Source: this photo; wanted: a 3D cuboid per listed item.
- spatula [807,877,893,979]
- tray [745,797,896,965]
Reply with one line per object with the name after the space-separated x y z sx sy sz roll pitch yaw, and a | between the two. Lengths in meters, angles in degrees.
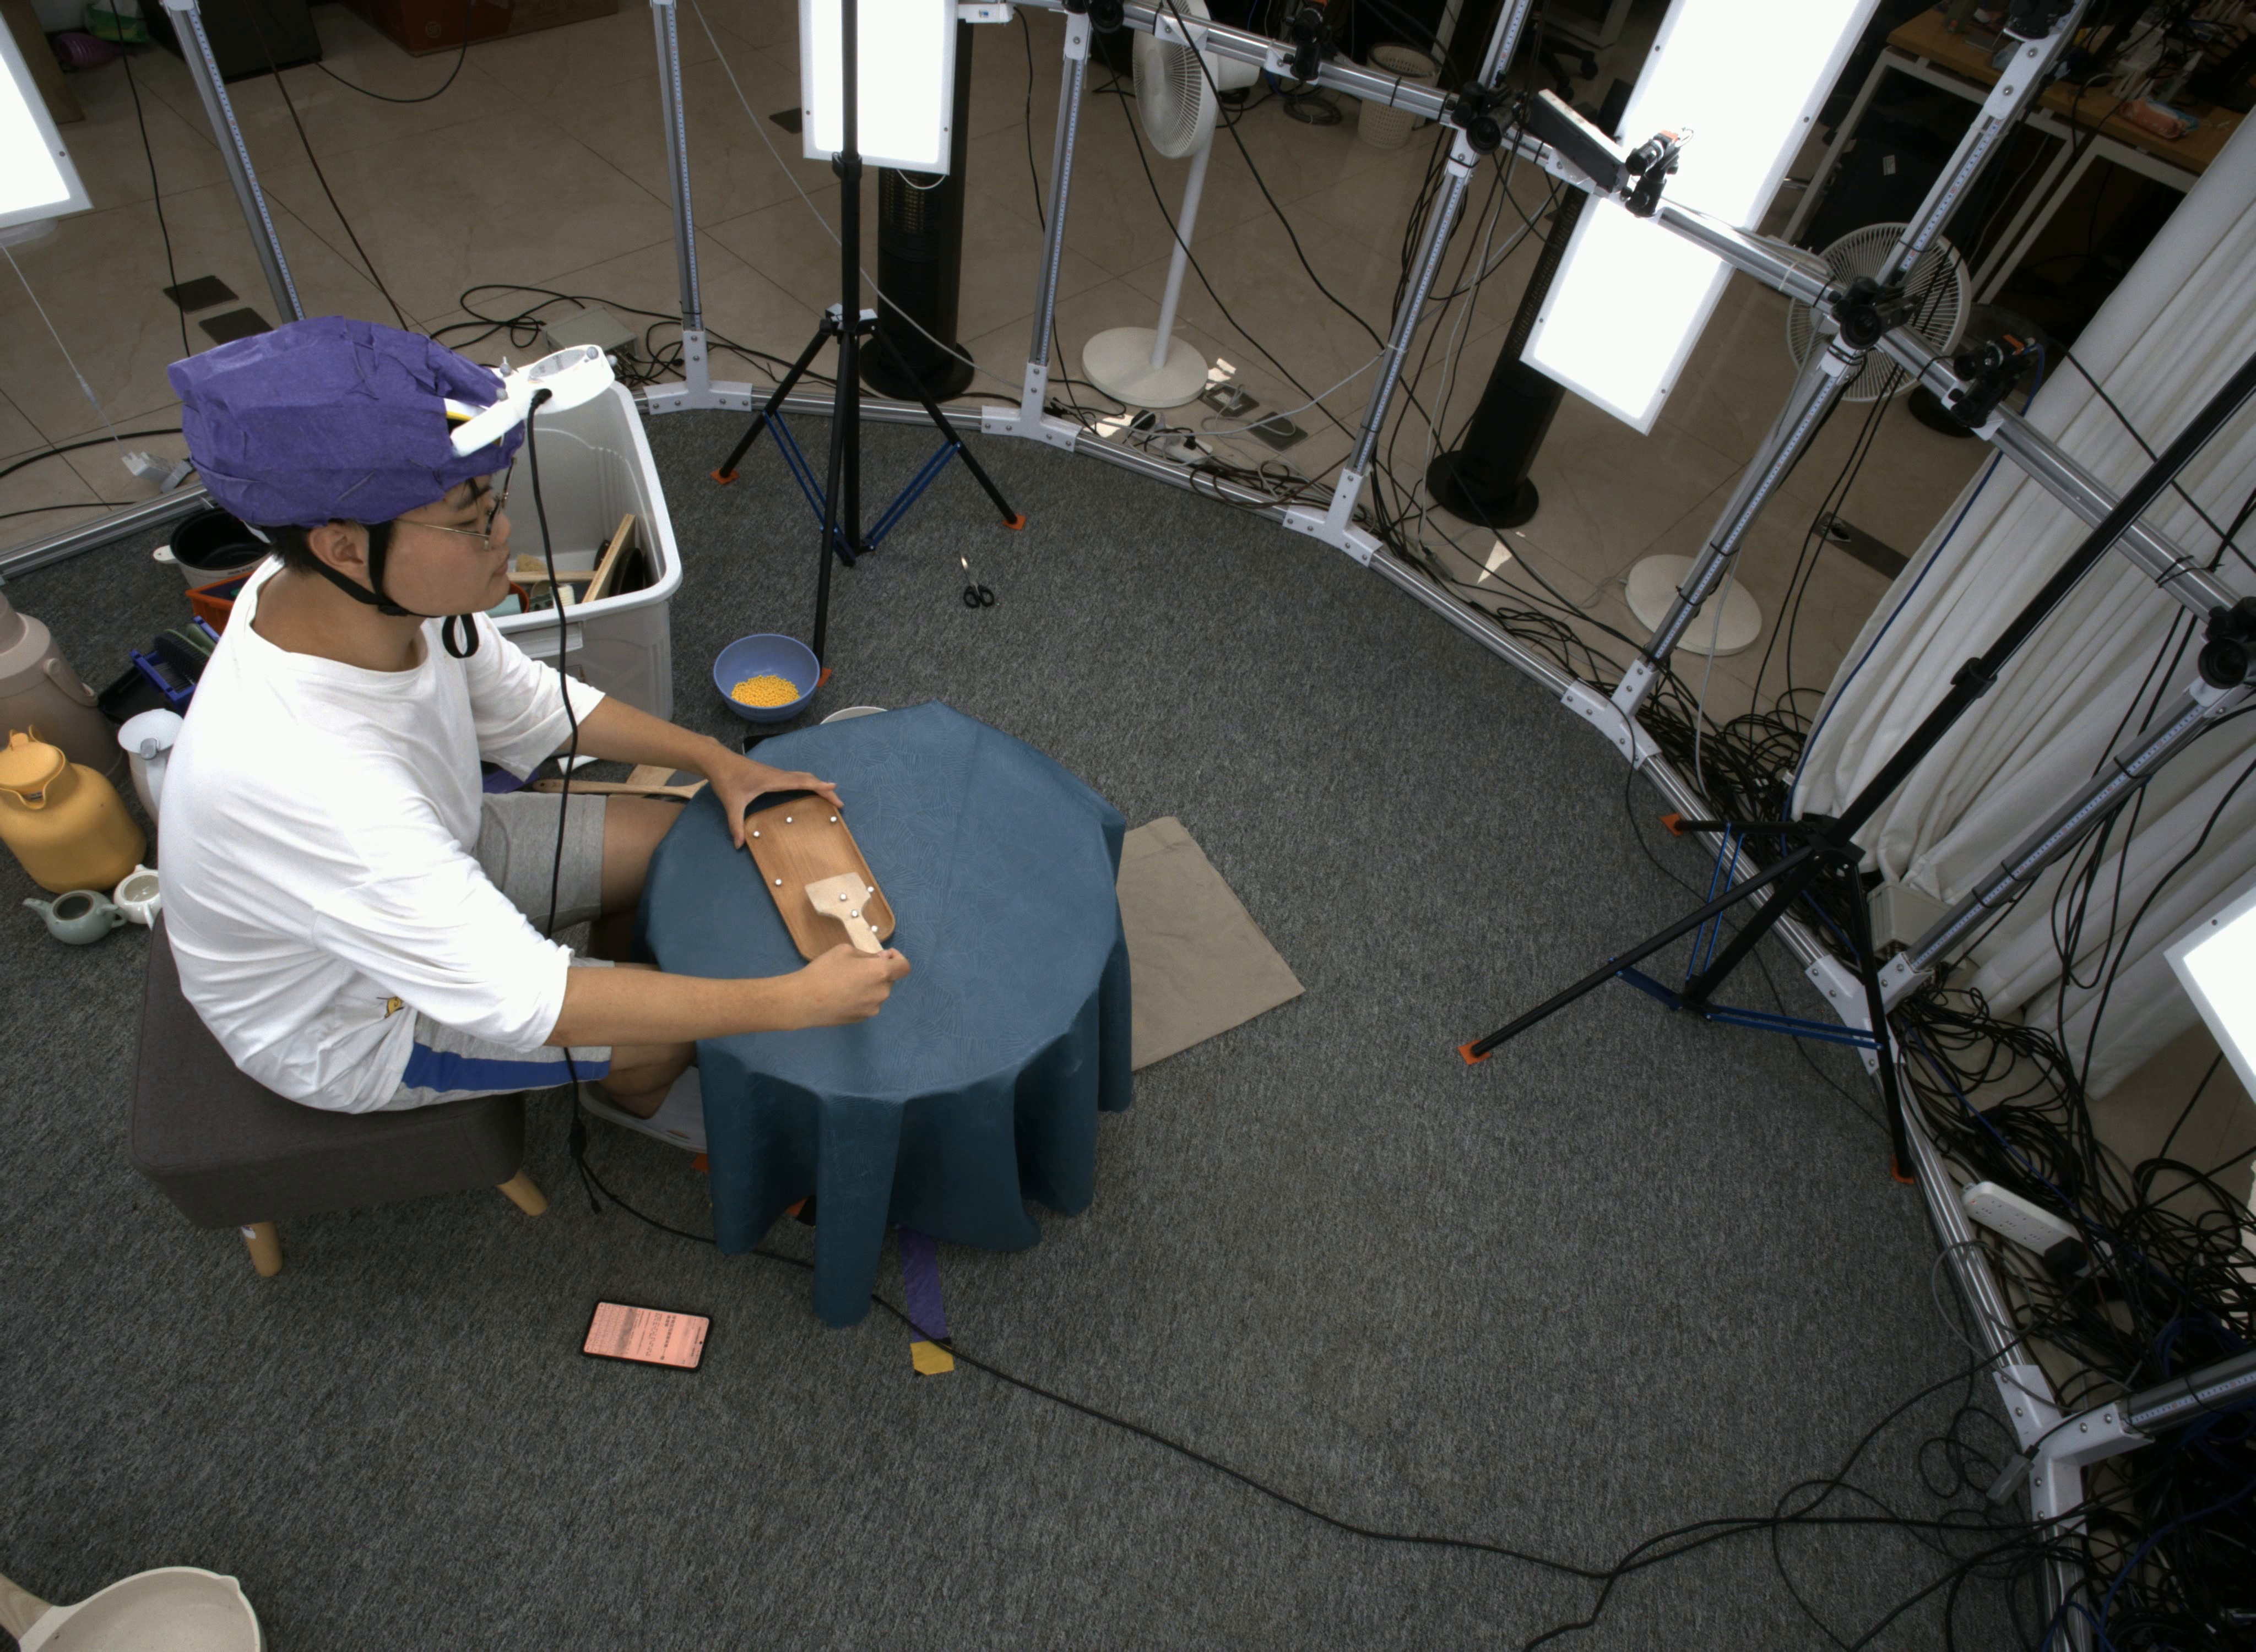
-0.321 0.117 1.537 0.072 0.011 0.283 -15 23 -19 | spatula
-0.400 0.067 1.681 0.131 0.023 0.244 -20 61 -23 | tray
